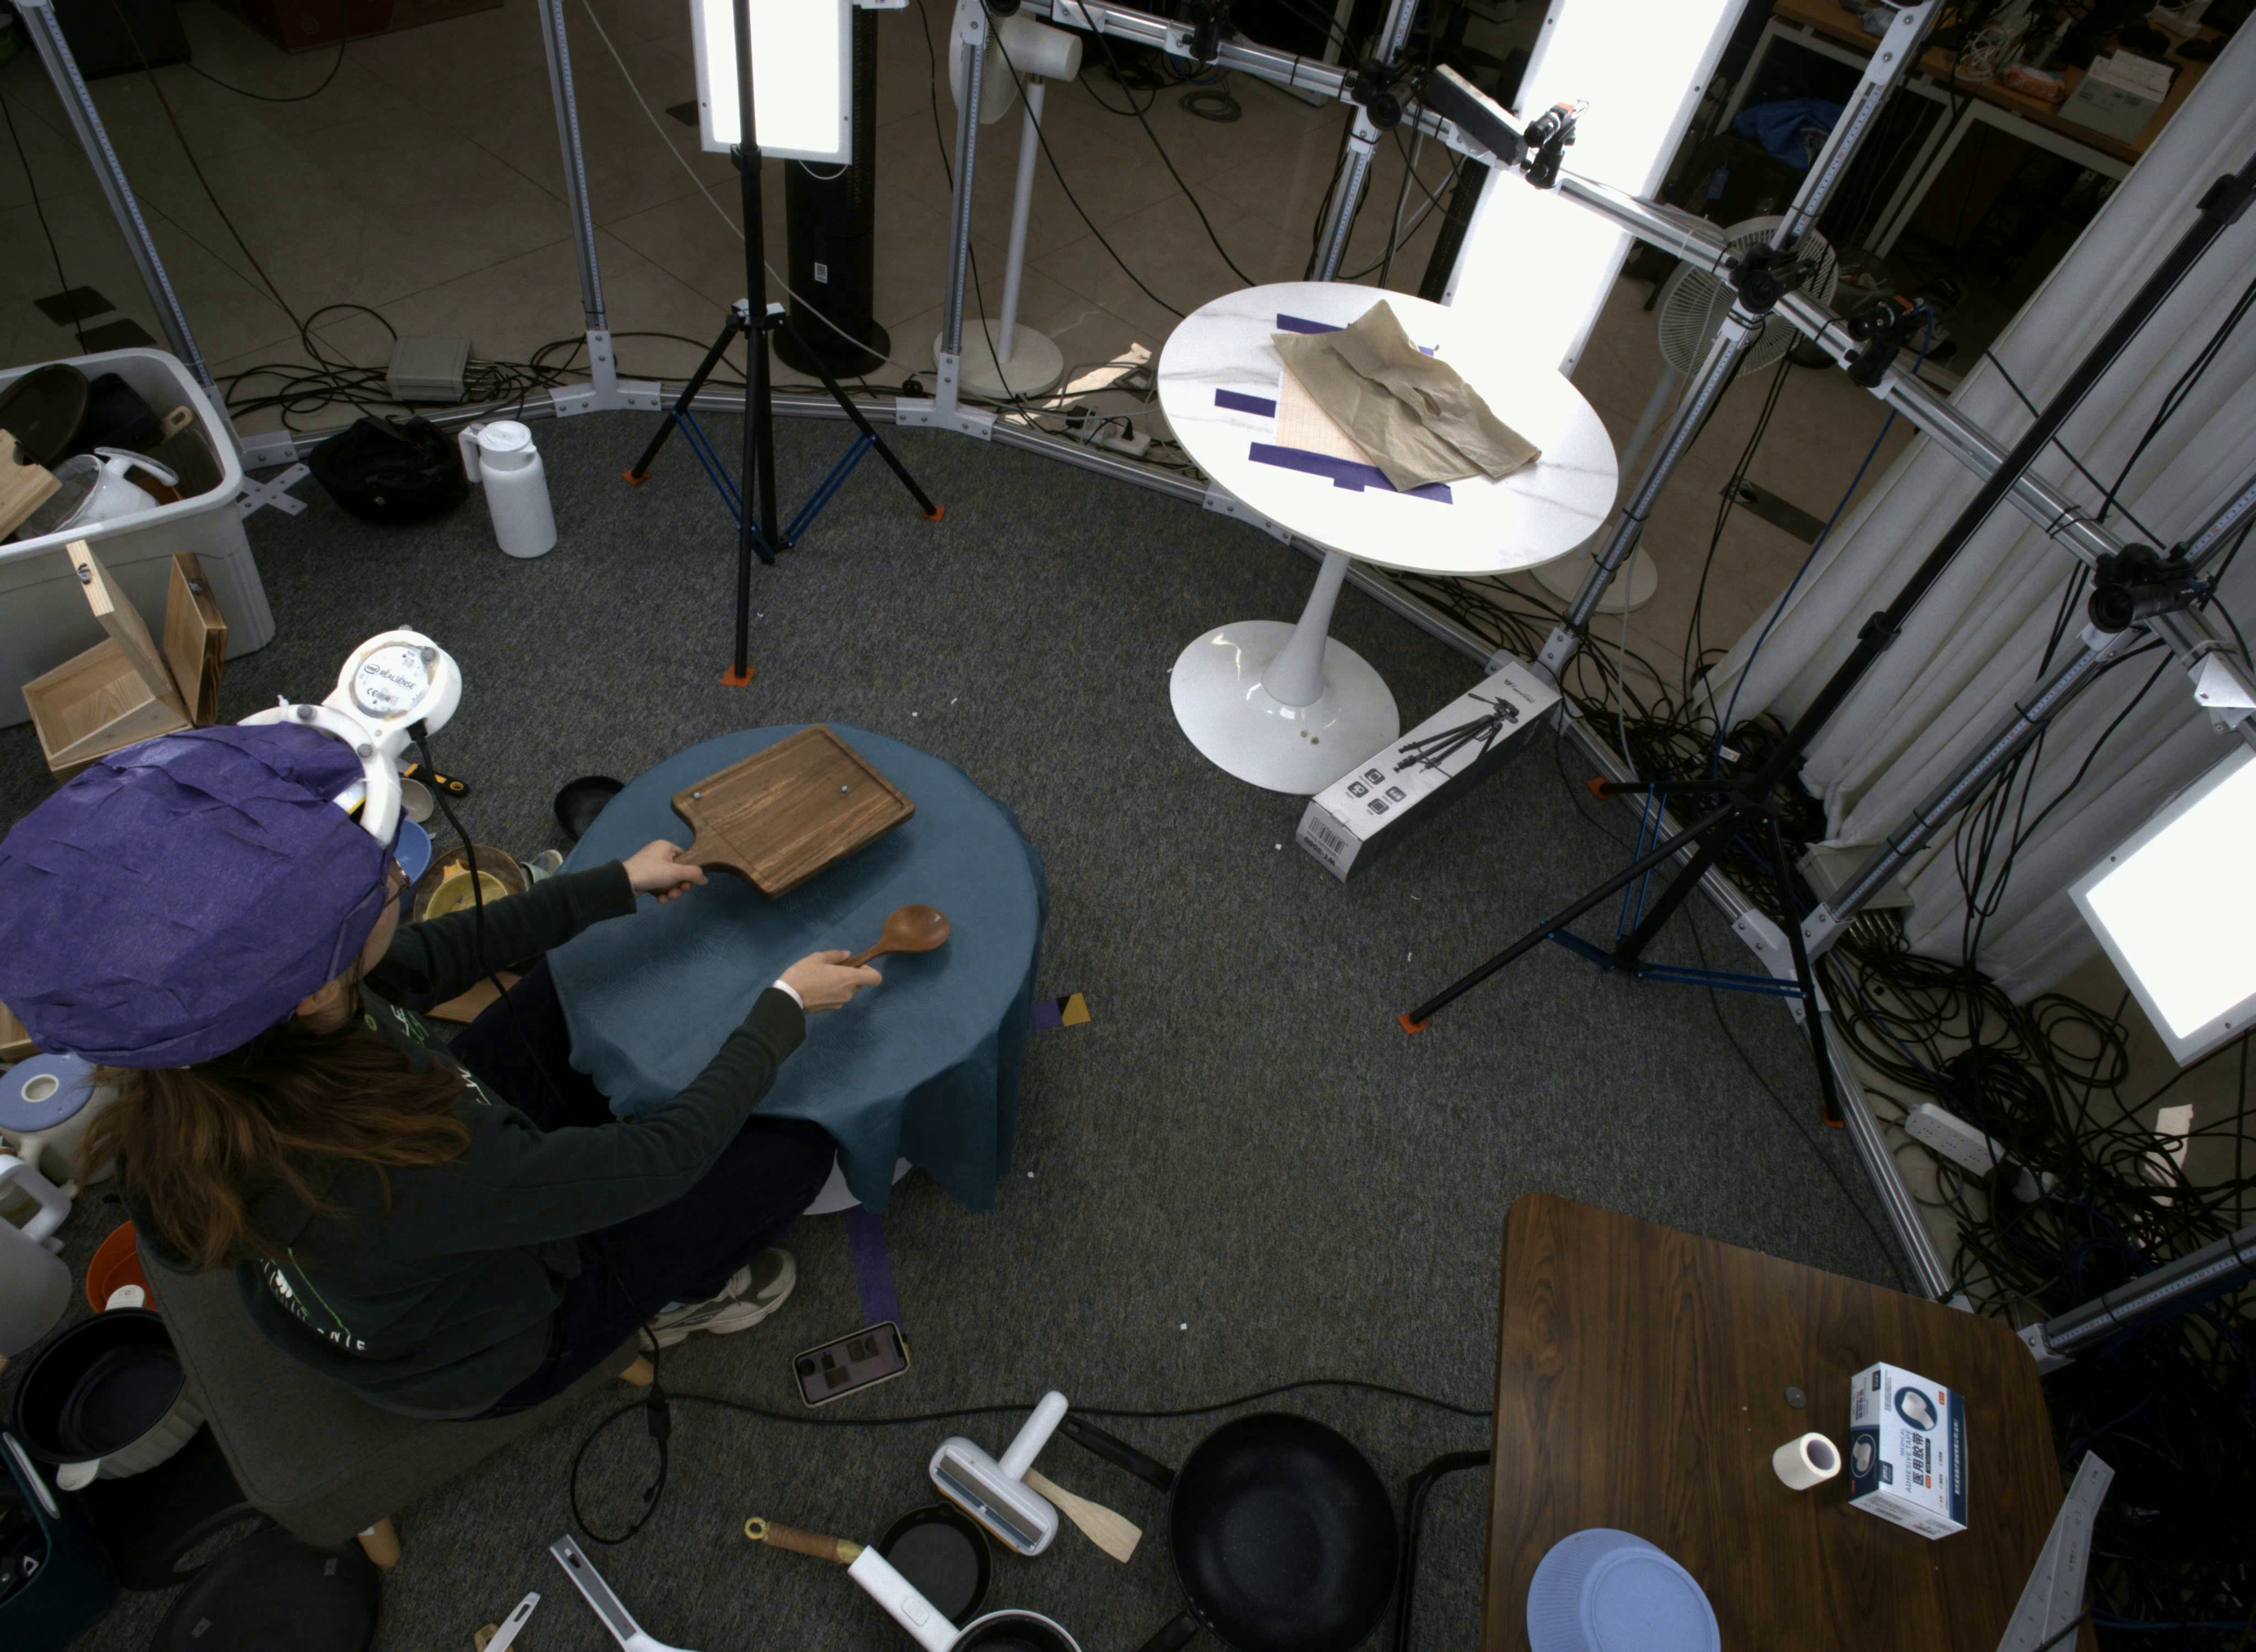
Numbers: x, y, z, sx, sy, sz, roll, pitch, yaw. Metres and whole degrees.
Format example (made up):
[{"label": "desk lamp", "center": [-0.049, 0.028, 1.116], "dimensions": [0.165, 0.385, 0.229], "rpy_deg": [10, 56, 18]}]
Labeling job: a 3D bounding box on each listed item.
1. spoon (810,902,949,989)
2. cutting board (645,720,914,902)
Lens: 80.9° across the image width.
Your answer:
[{"label": "spoon", "center": [-0.302, 0.146, 1.582], "dimensions": [0.074, 0.017, 0.217], "rpy_deg": [43, 37, 15]}, {"label": "cutting board", "center": [-0.459, -0.006, 1.632], "dimensions": [0.197, 0.023, 0.353], "rpy_deg": [41, 47, 14]}]
